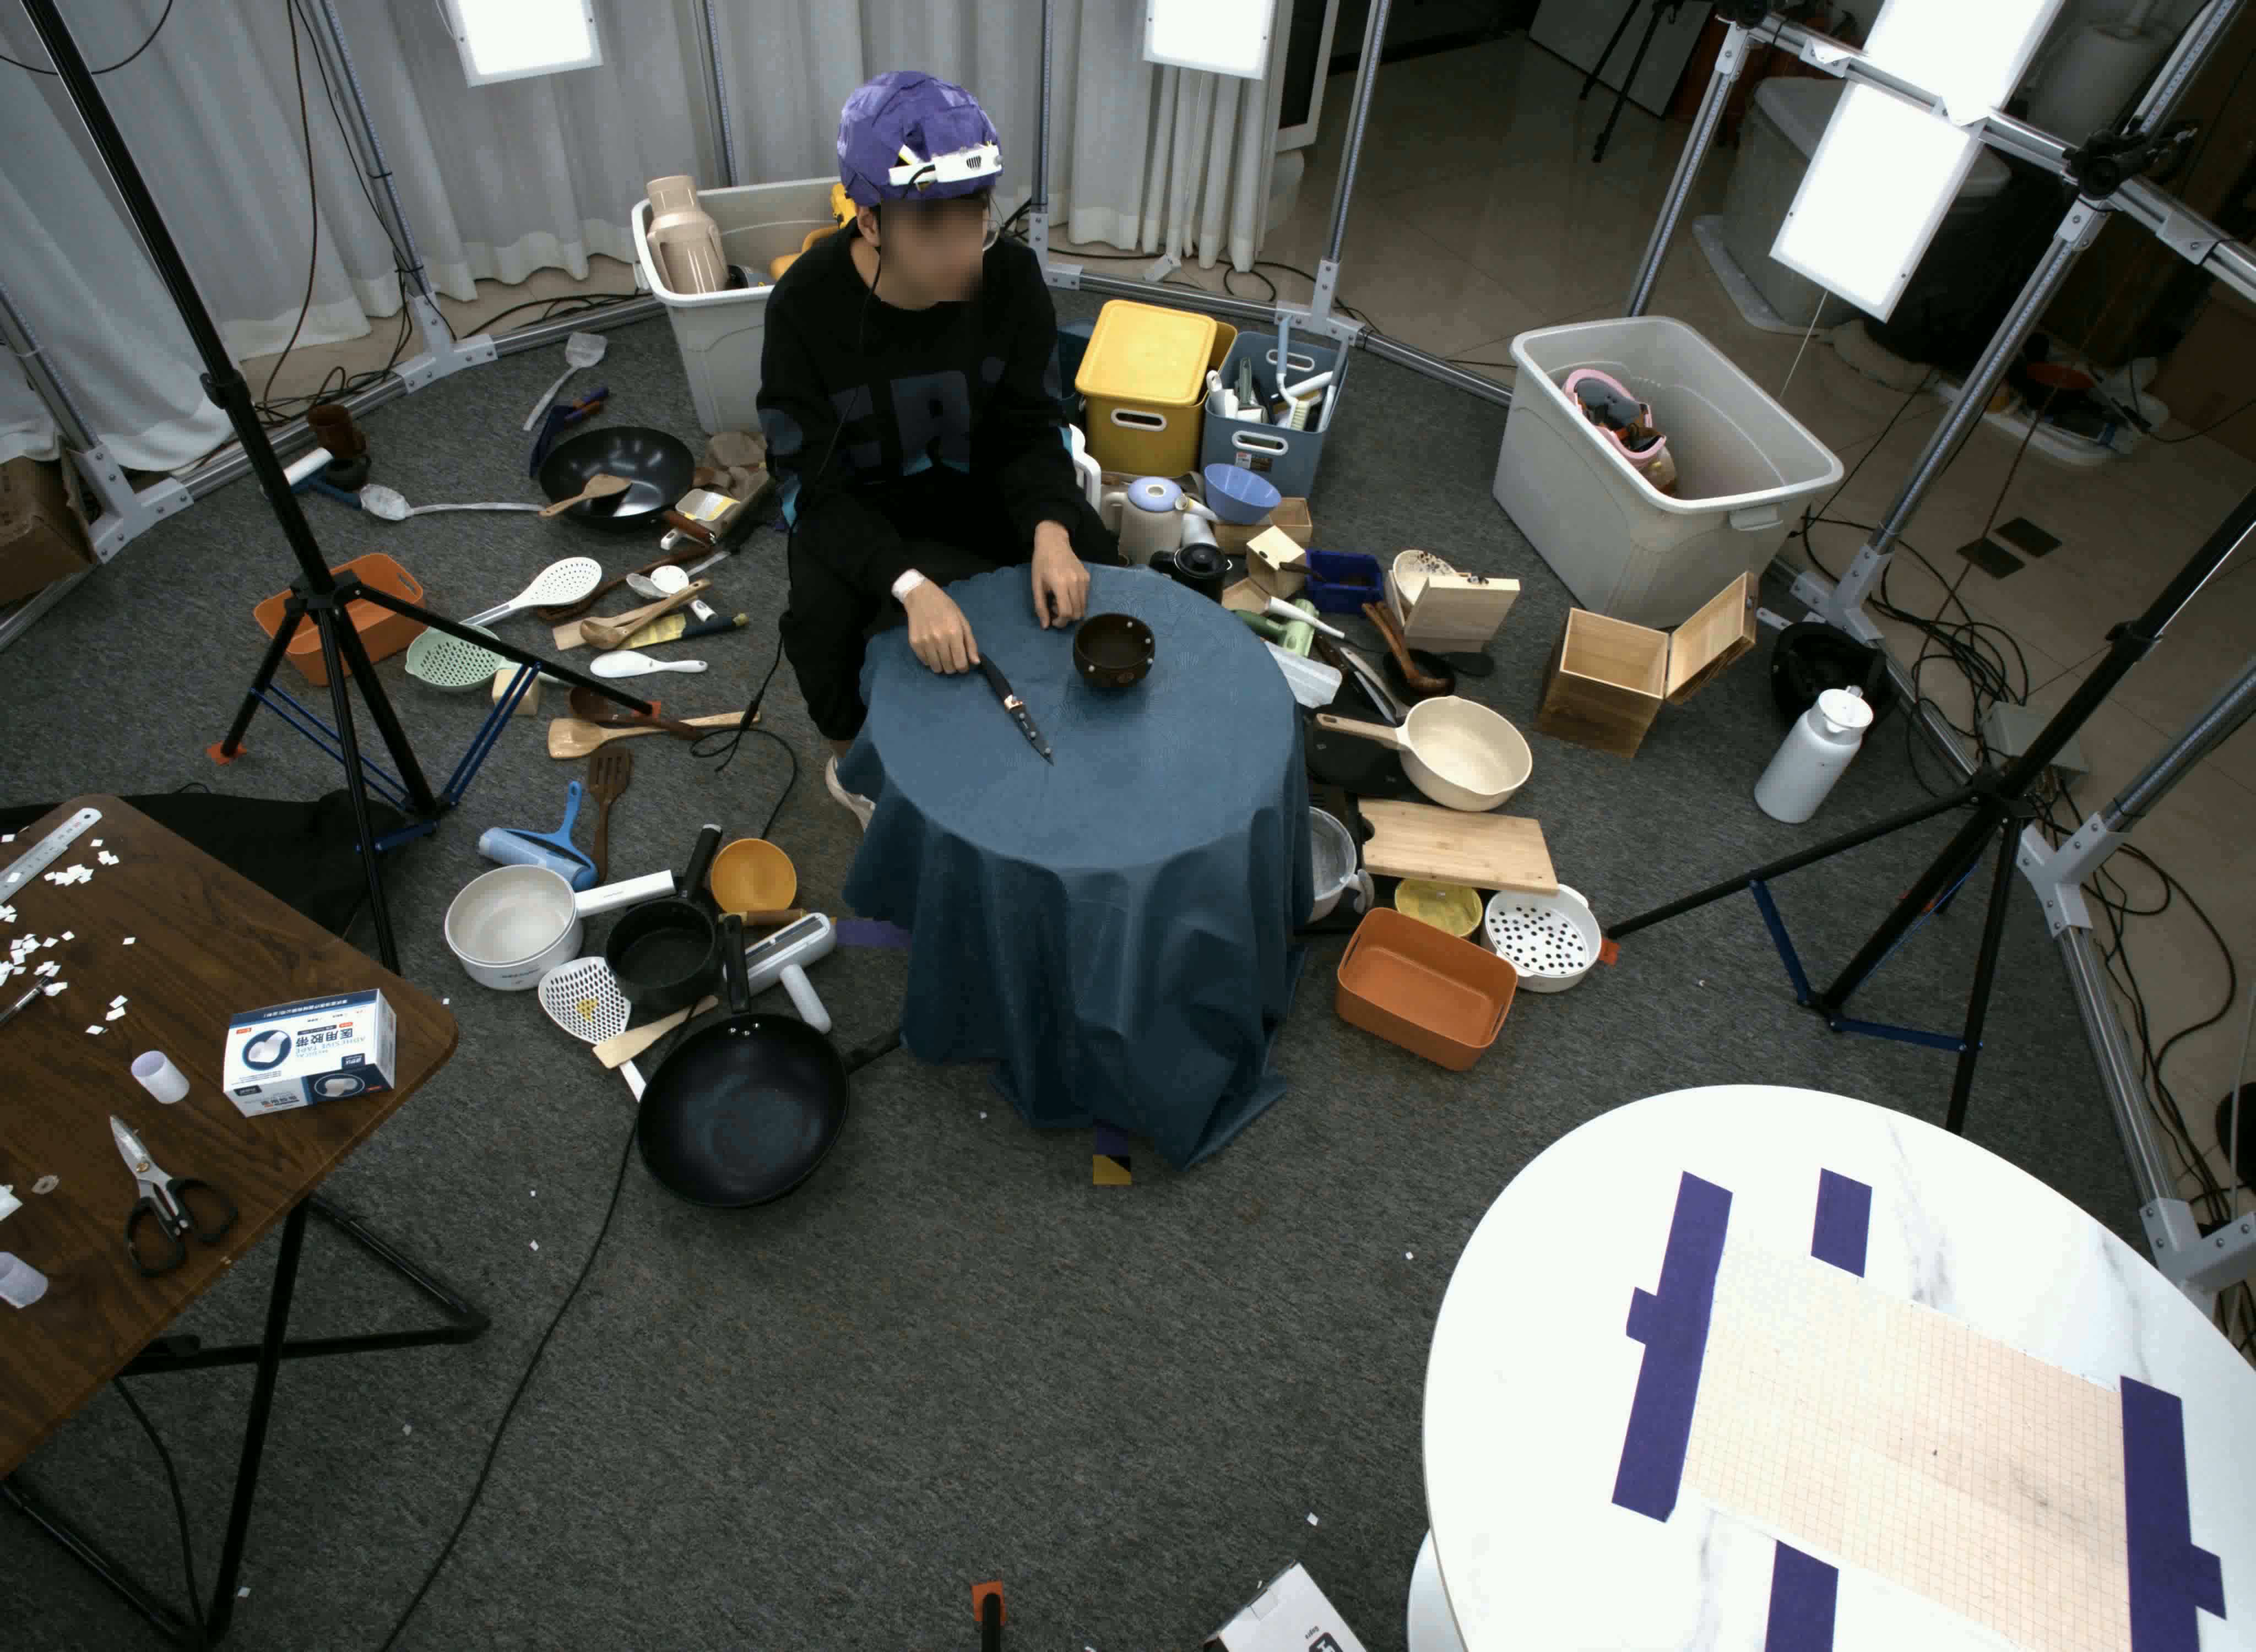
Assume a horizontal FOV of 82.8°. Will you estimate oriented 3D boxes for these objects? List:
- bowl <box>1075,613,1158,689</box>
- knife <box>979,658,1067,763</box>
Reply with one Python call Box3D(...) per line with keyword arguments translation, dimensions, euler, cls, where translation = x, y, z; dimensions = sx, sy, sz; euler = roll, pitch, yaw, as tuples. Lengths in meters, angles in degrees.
Box3D(translation=(-0.017, -0.241, 1.828), dimensions=(0.118, 0.068, 0.121), euler=(2, 47, -2), cls="bowl")
Box3D(translation=(-0.148, -0.163, 1.793), dimensions=(0.026, 0.017, 0.230), euler=(-19, 54, -27), cls="knife")
